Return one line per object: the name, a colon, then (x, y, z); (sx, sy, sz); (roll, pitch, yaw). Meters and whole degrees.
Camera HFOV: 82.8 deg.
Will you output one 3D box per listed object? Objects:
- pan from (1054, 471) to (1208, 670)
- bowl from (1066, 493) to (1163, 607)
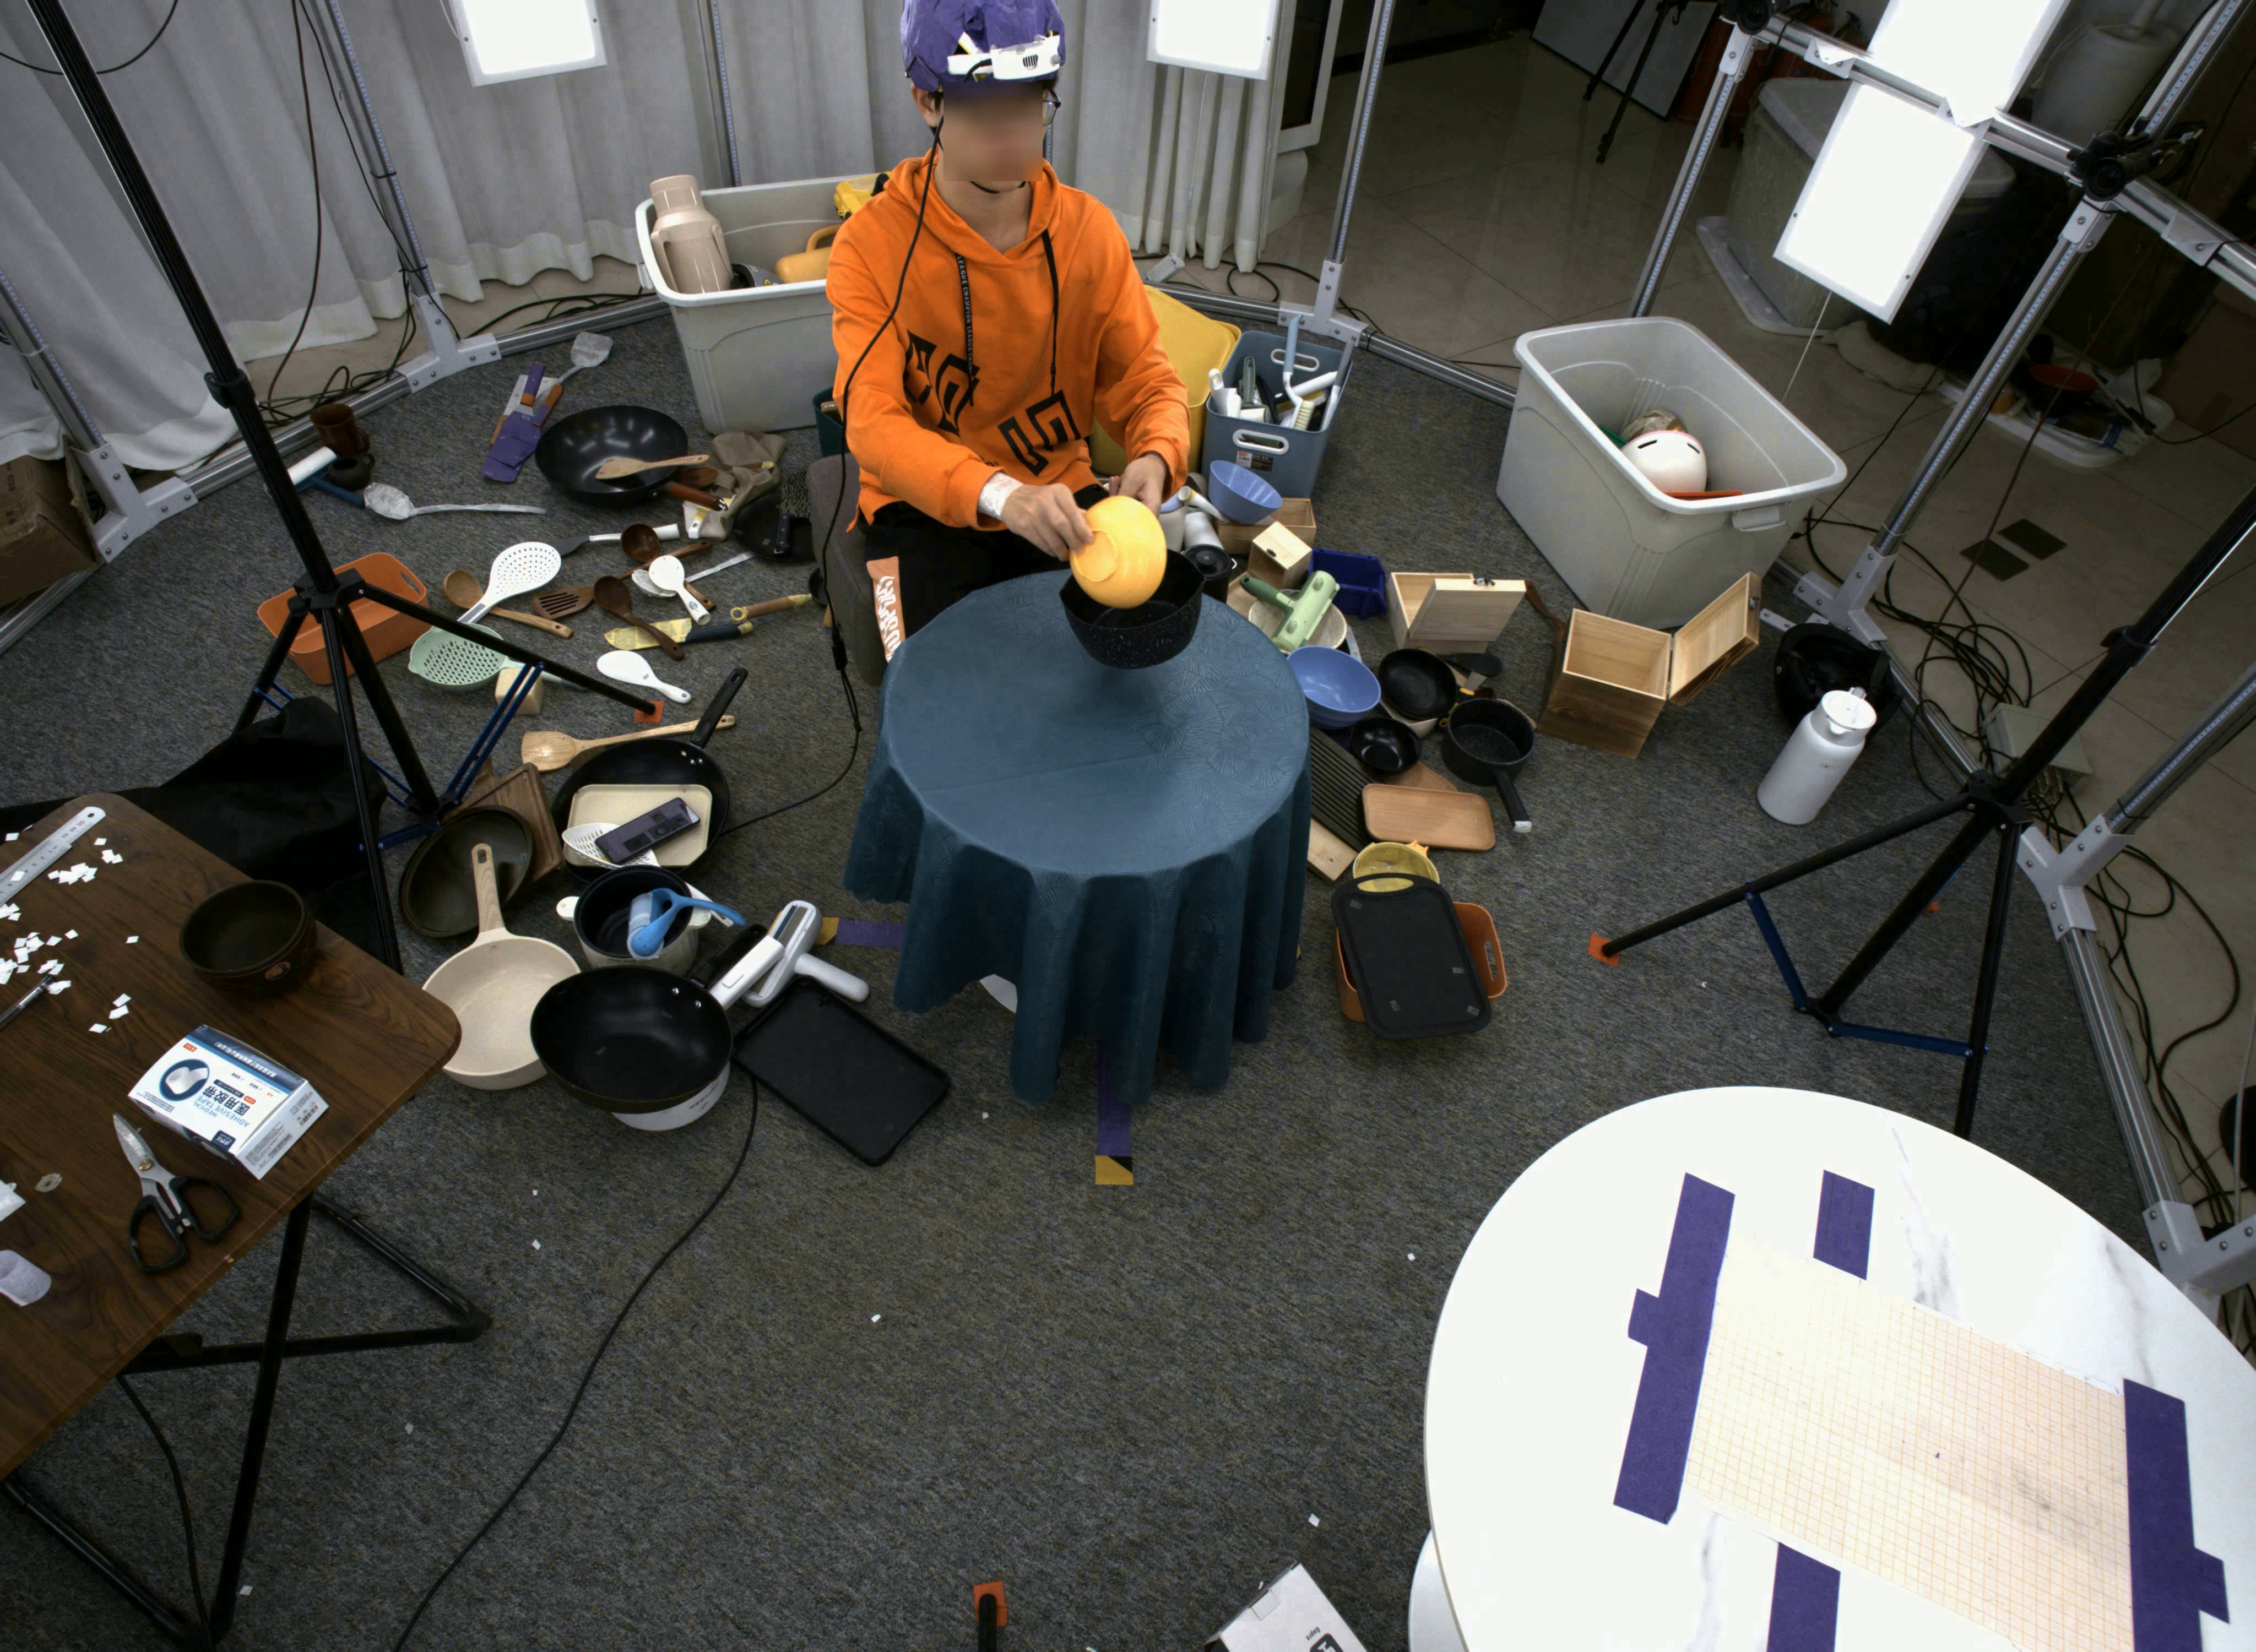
pan: (0.006, -0.356, 1.787); (0.207, 0.105, 0.351); (-8, 45, 6)
bowl: (-0.030, -0.350, 1.645); (0.147, 0.143, 0.060); (36, 31, 24)
